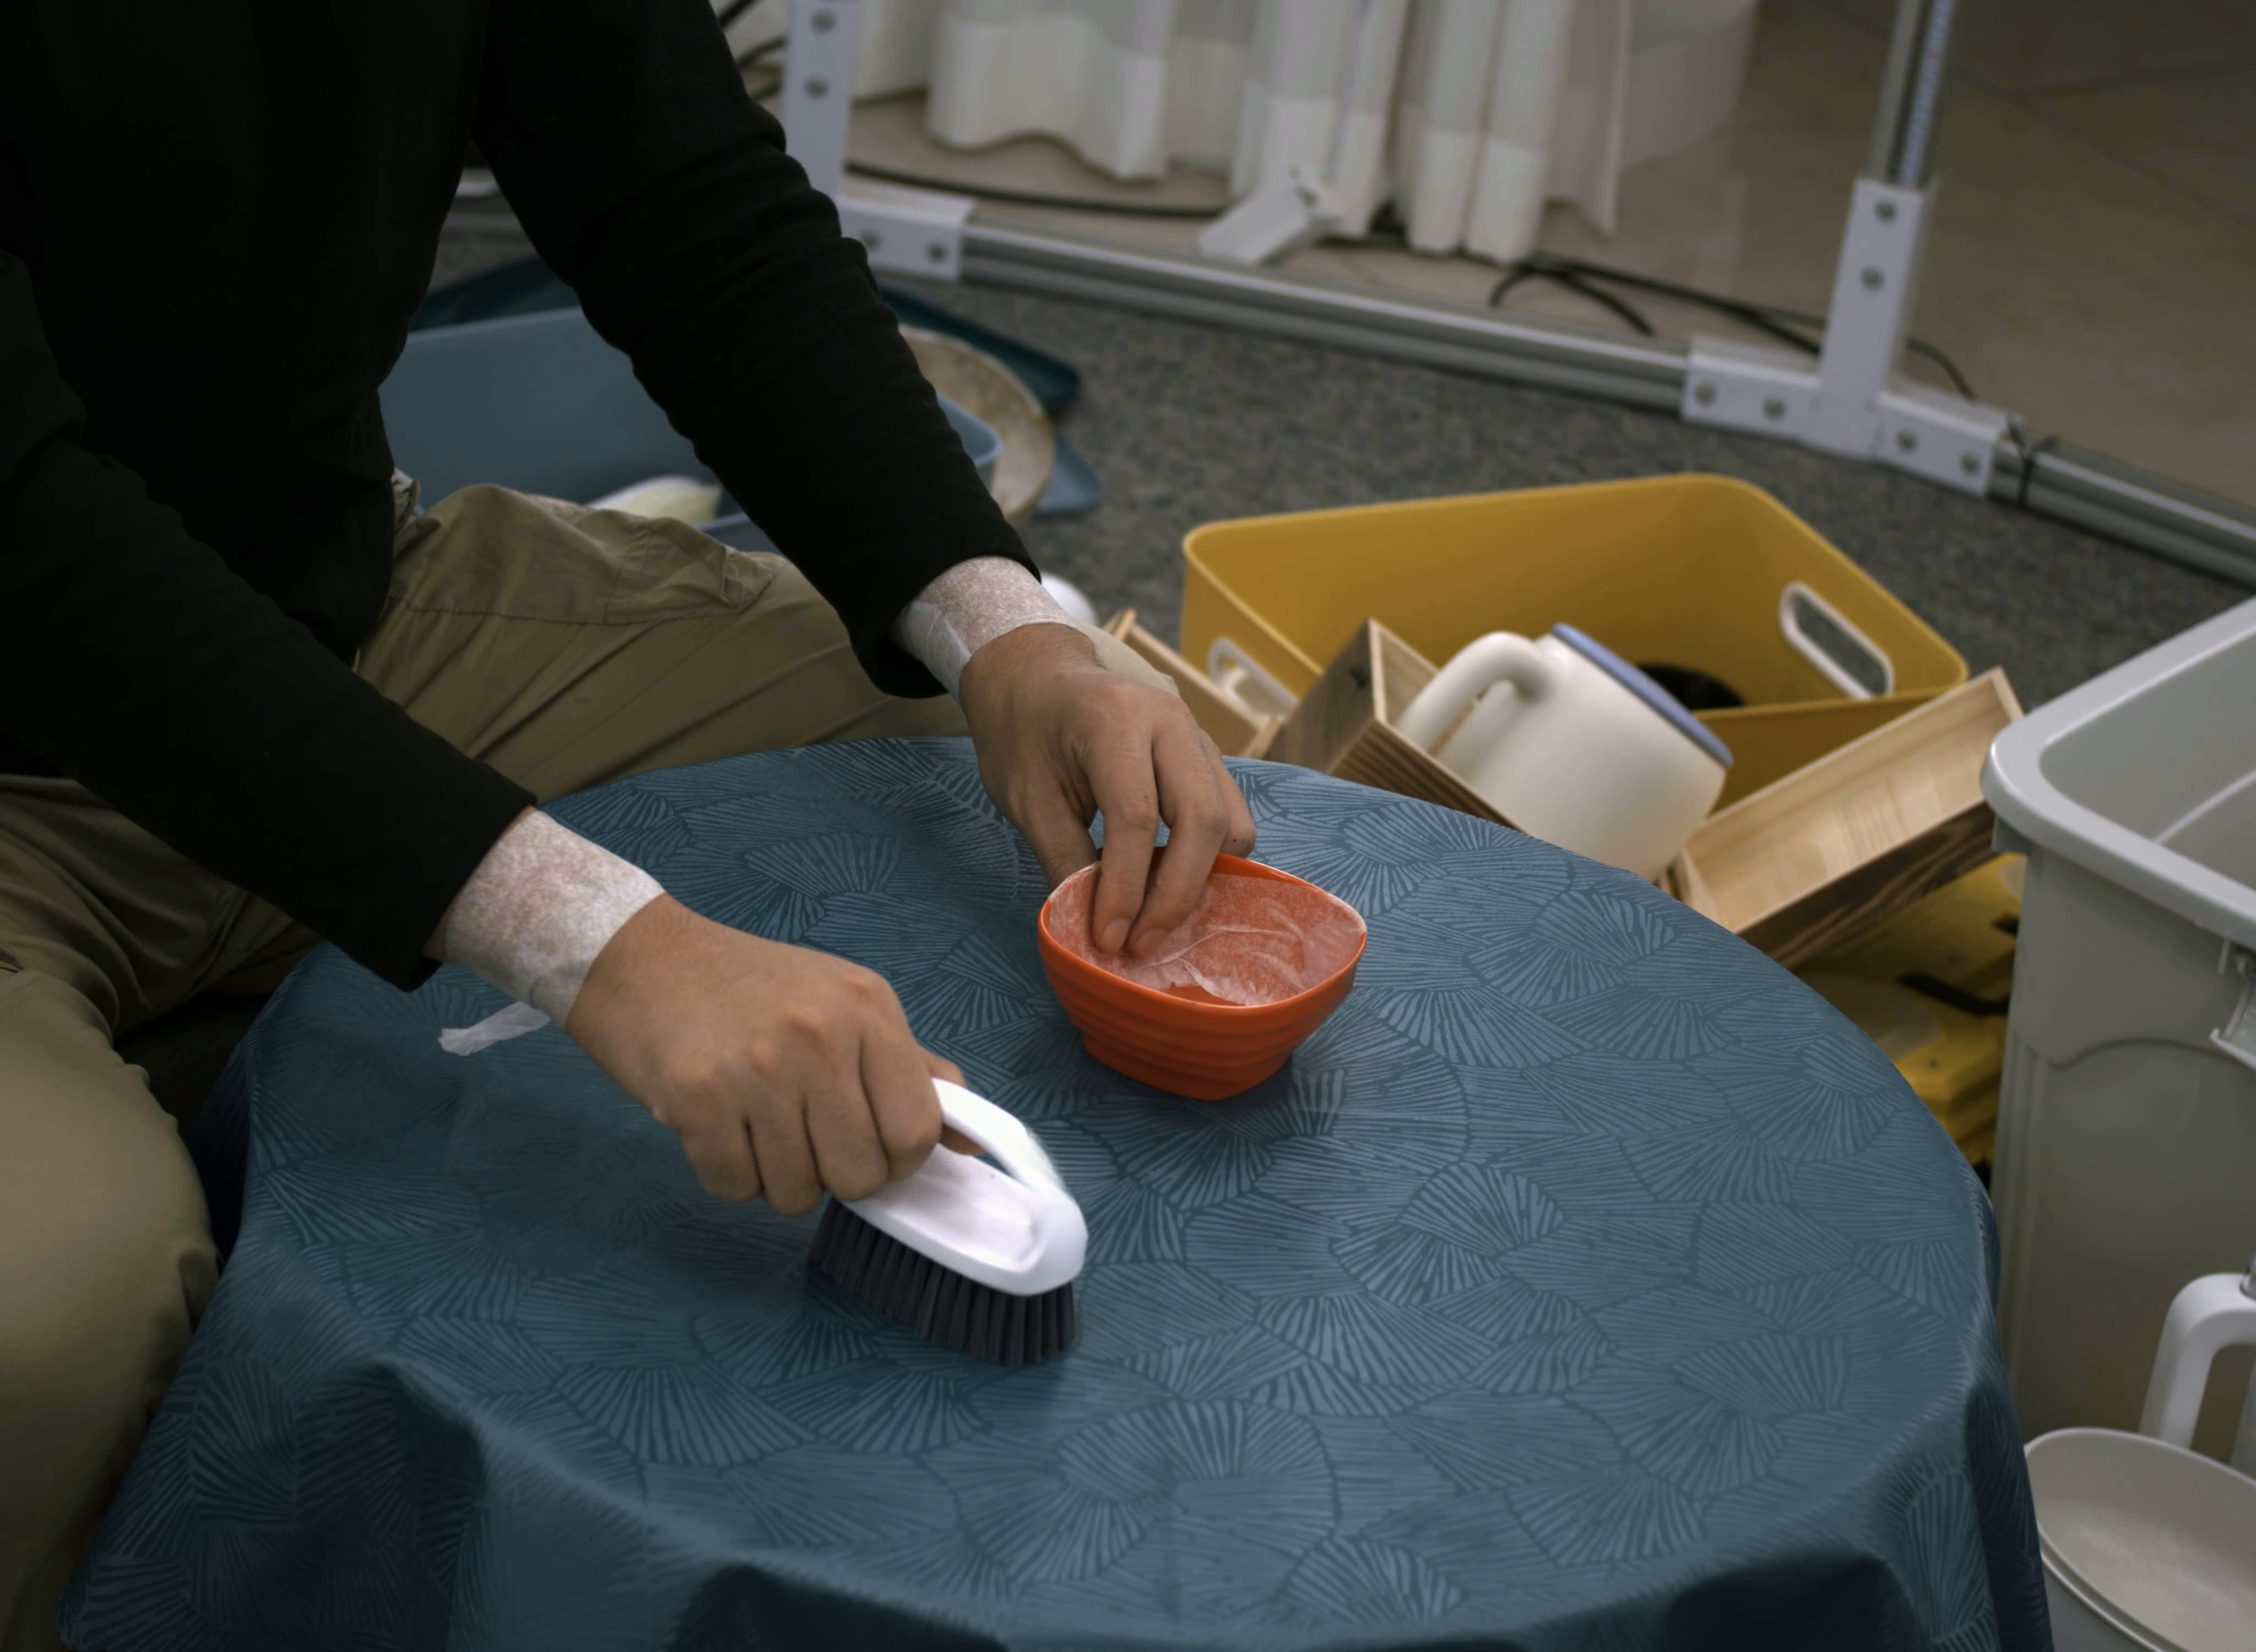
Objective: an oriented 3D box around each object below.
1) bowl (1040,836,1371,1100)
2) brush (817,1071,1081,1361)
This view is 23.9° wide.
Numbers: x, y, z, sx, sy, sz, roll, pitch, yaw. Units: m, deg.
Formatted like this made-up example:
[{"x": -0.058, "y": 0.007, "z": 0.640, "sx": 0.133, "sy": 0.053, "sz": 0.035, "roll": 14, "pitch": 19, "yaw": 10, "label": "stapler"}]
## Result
[{"x": 0.024, "y": 0.055, "z": 1.884, "sx": 0.118, "sy": 0.051, "sz": 0.120, "roll": 6, "pitch": 30, "yaw": -4, "label": "bowl"}, {"x": -0.057, "y": 0.119, "z": 1.717, "sx": 0.100, "sy": 0.072, "sz": 0.050, "roll": 28, "pitch": 34, "yaw": 35, "label": "brush"}]
